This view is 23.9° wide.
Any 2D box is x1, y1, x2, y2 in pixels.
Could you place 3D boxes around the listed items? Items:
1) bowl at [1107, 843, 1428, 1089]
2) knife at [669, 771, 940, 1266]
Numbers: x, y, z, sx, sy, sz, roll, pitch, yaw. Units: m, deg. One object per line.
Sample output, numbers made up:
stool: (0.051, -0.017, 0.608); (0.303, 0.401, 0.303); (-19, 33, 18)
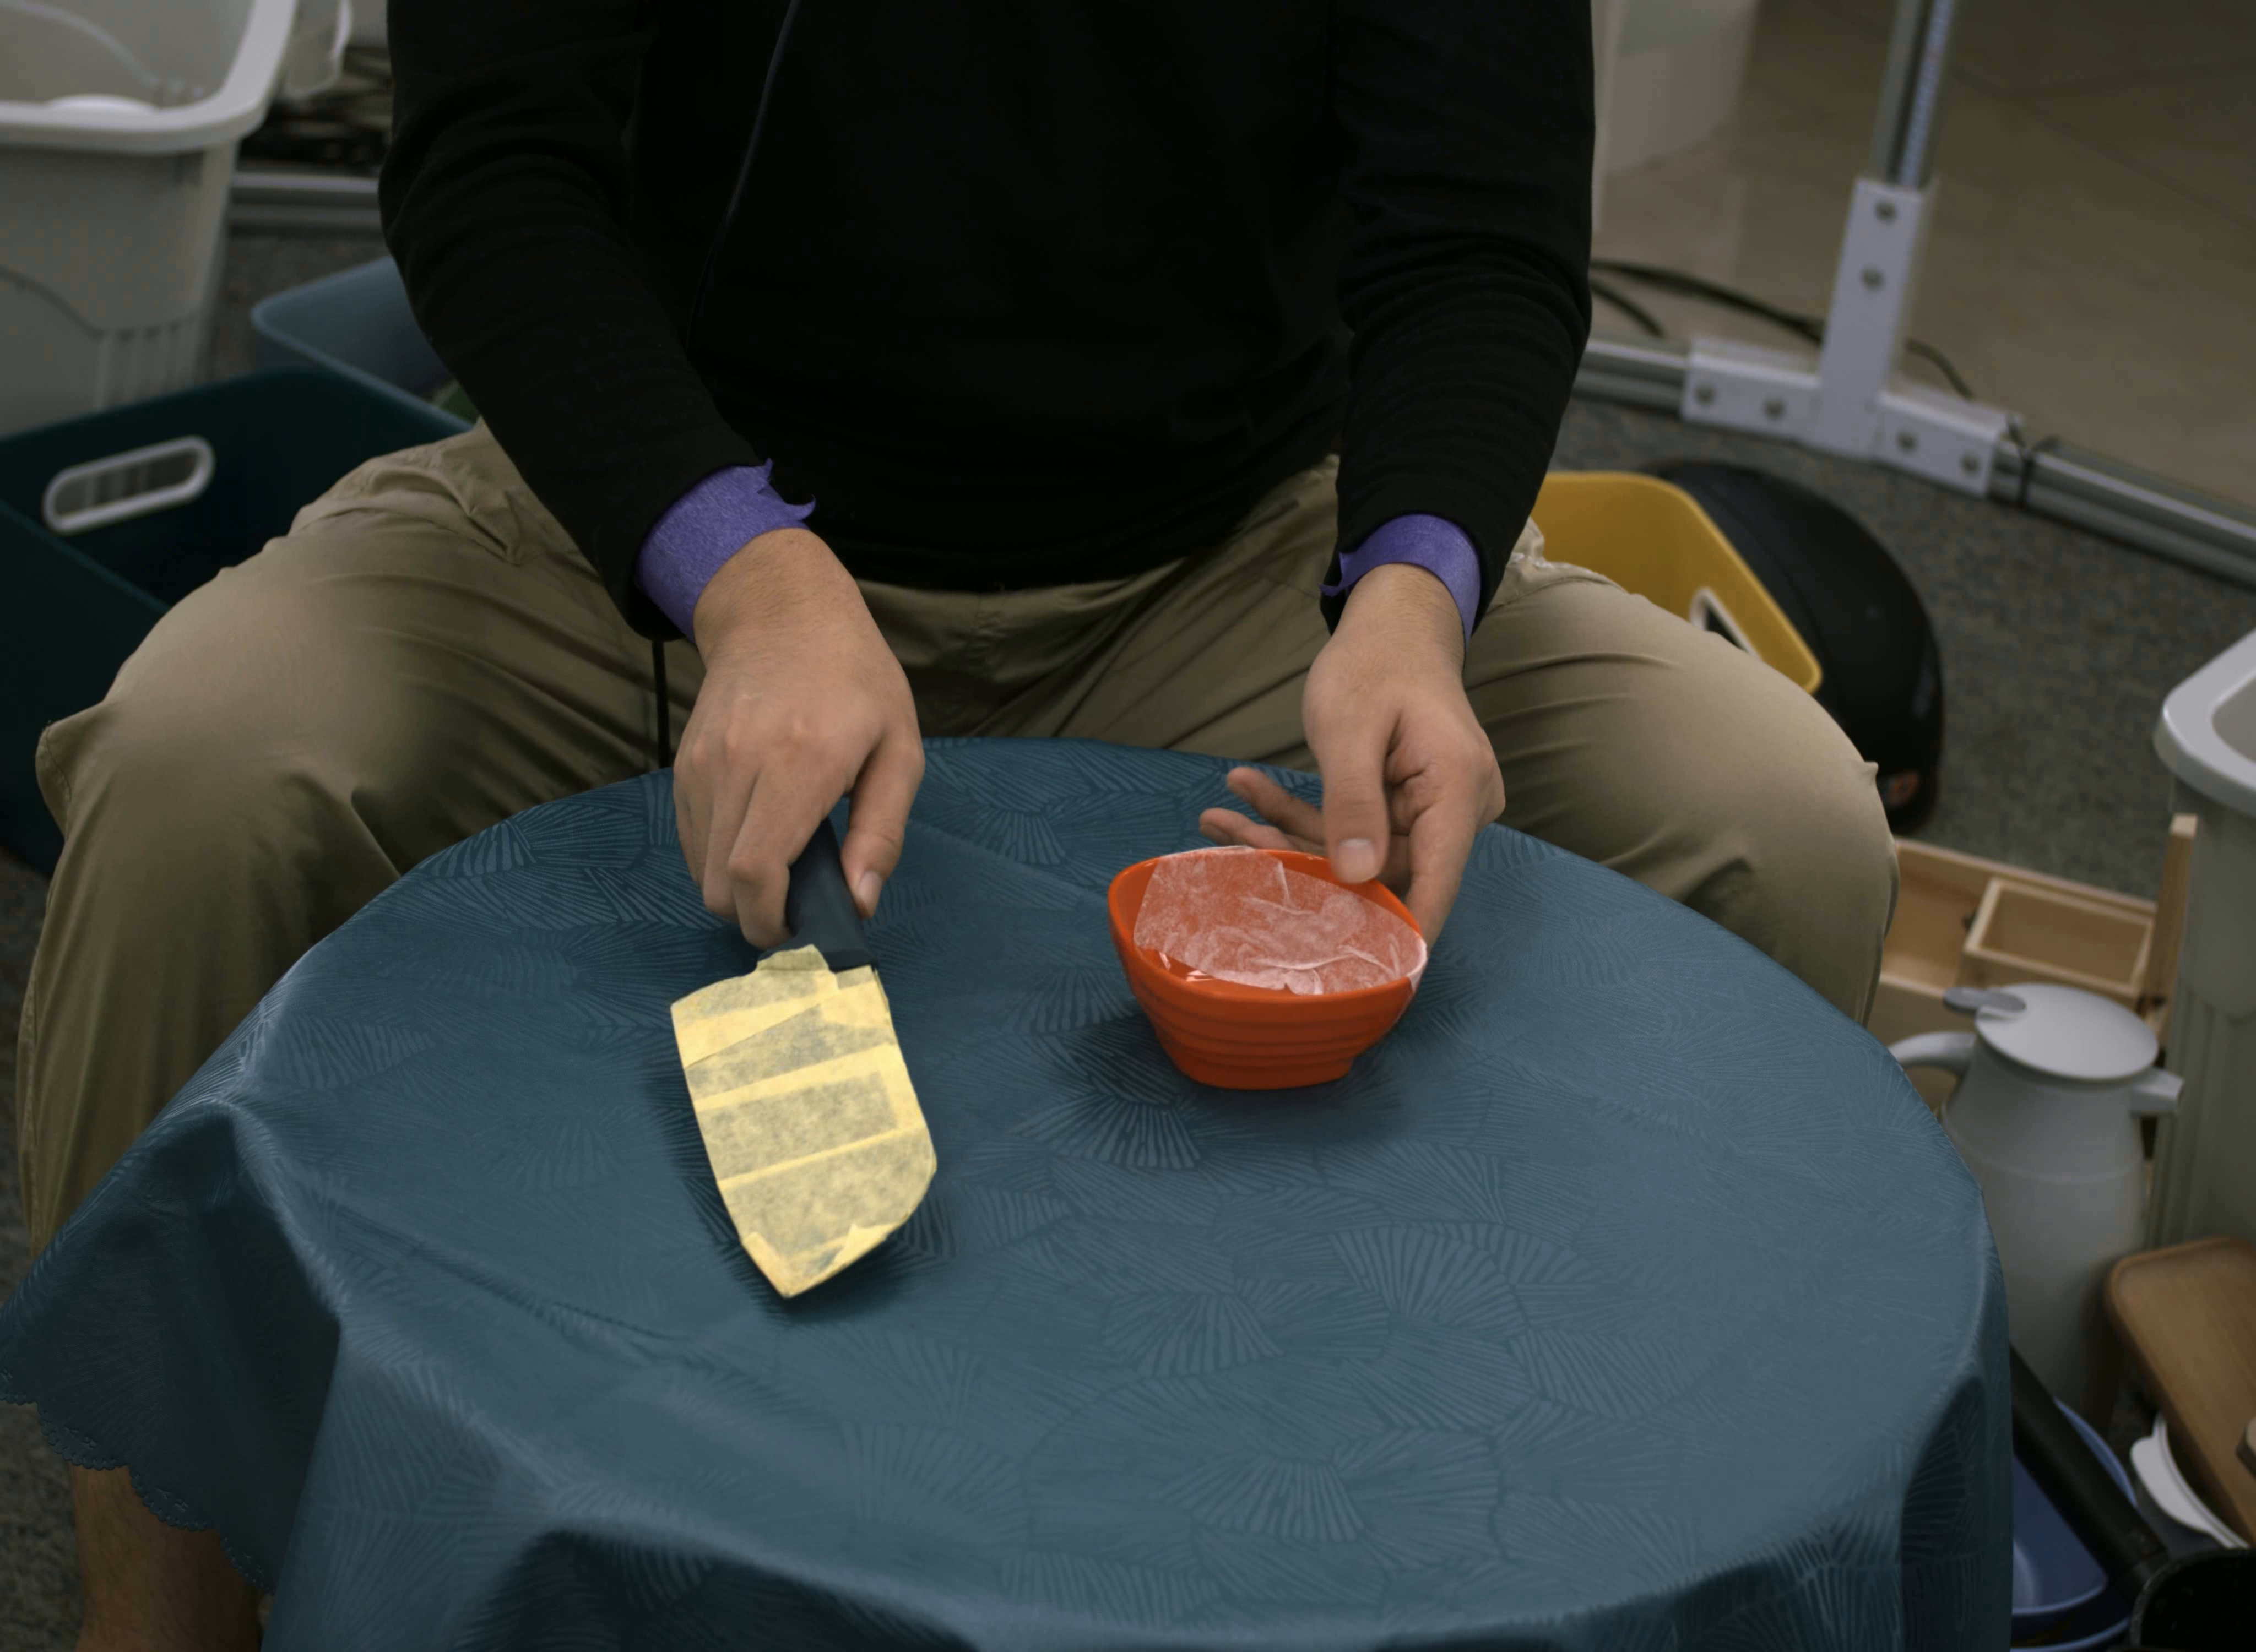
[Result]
bowl: (0.047, 0.054, 1.894); (0.118, 0.051, 0.119); (4, 29, -2)
knife: (-0.117, 0.064, 1.833); (0.081, 0.027, 0.292); (-13, 33, -3)
